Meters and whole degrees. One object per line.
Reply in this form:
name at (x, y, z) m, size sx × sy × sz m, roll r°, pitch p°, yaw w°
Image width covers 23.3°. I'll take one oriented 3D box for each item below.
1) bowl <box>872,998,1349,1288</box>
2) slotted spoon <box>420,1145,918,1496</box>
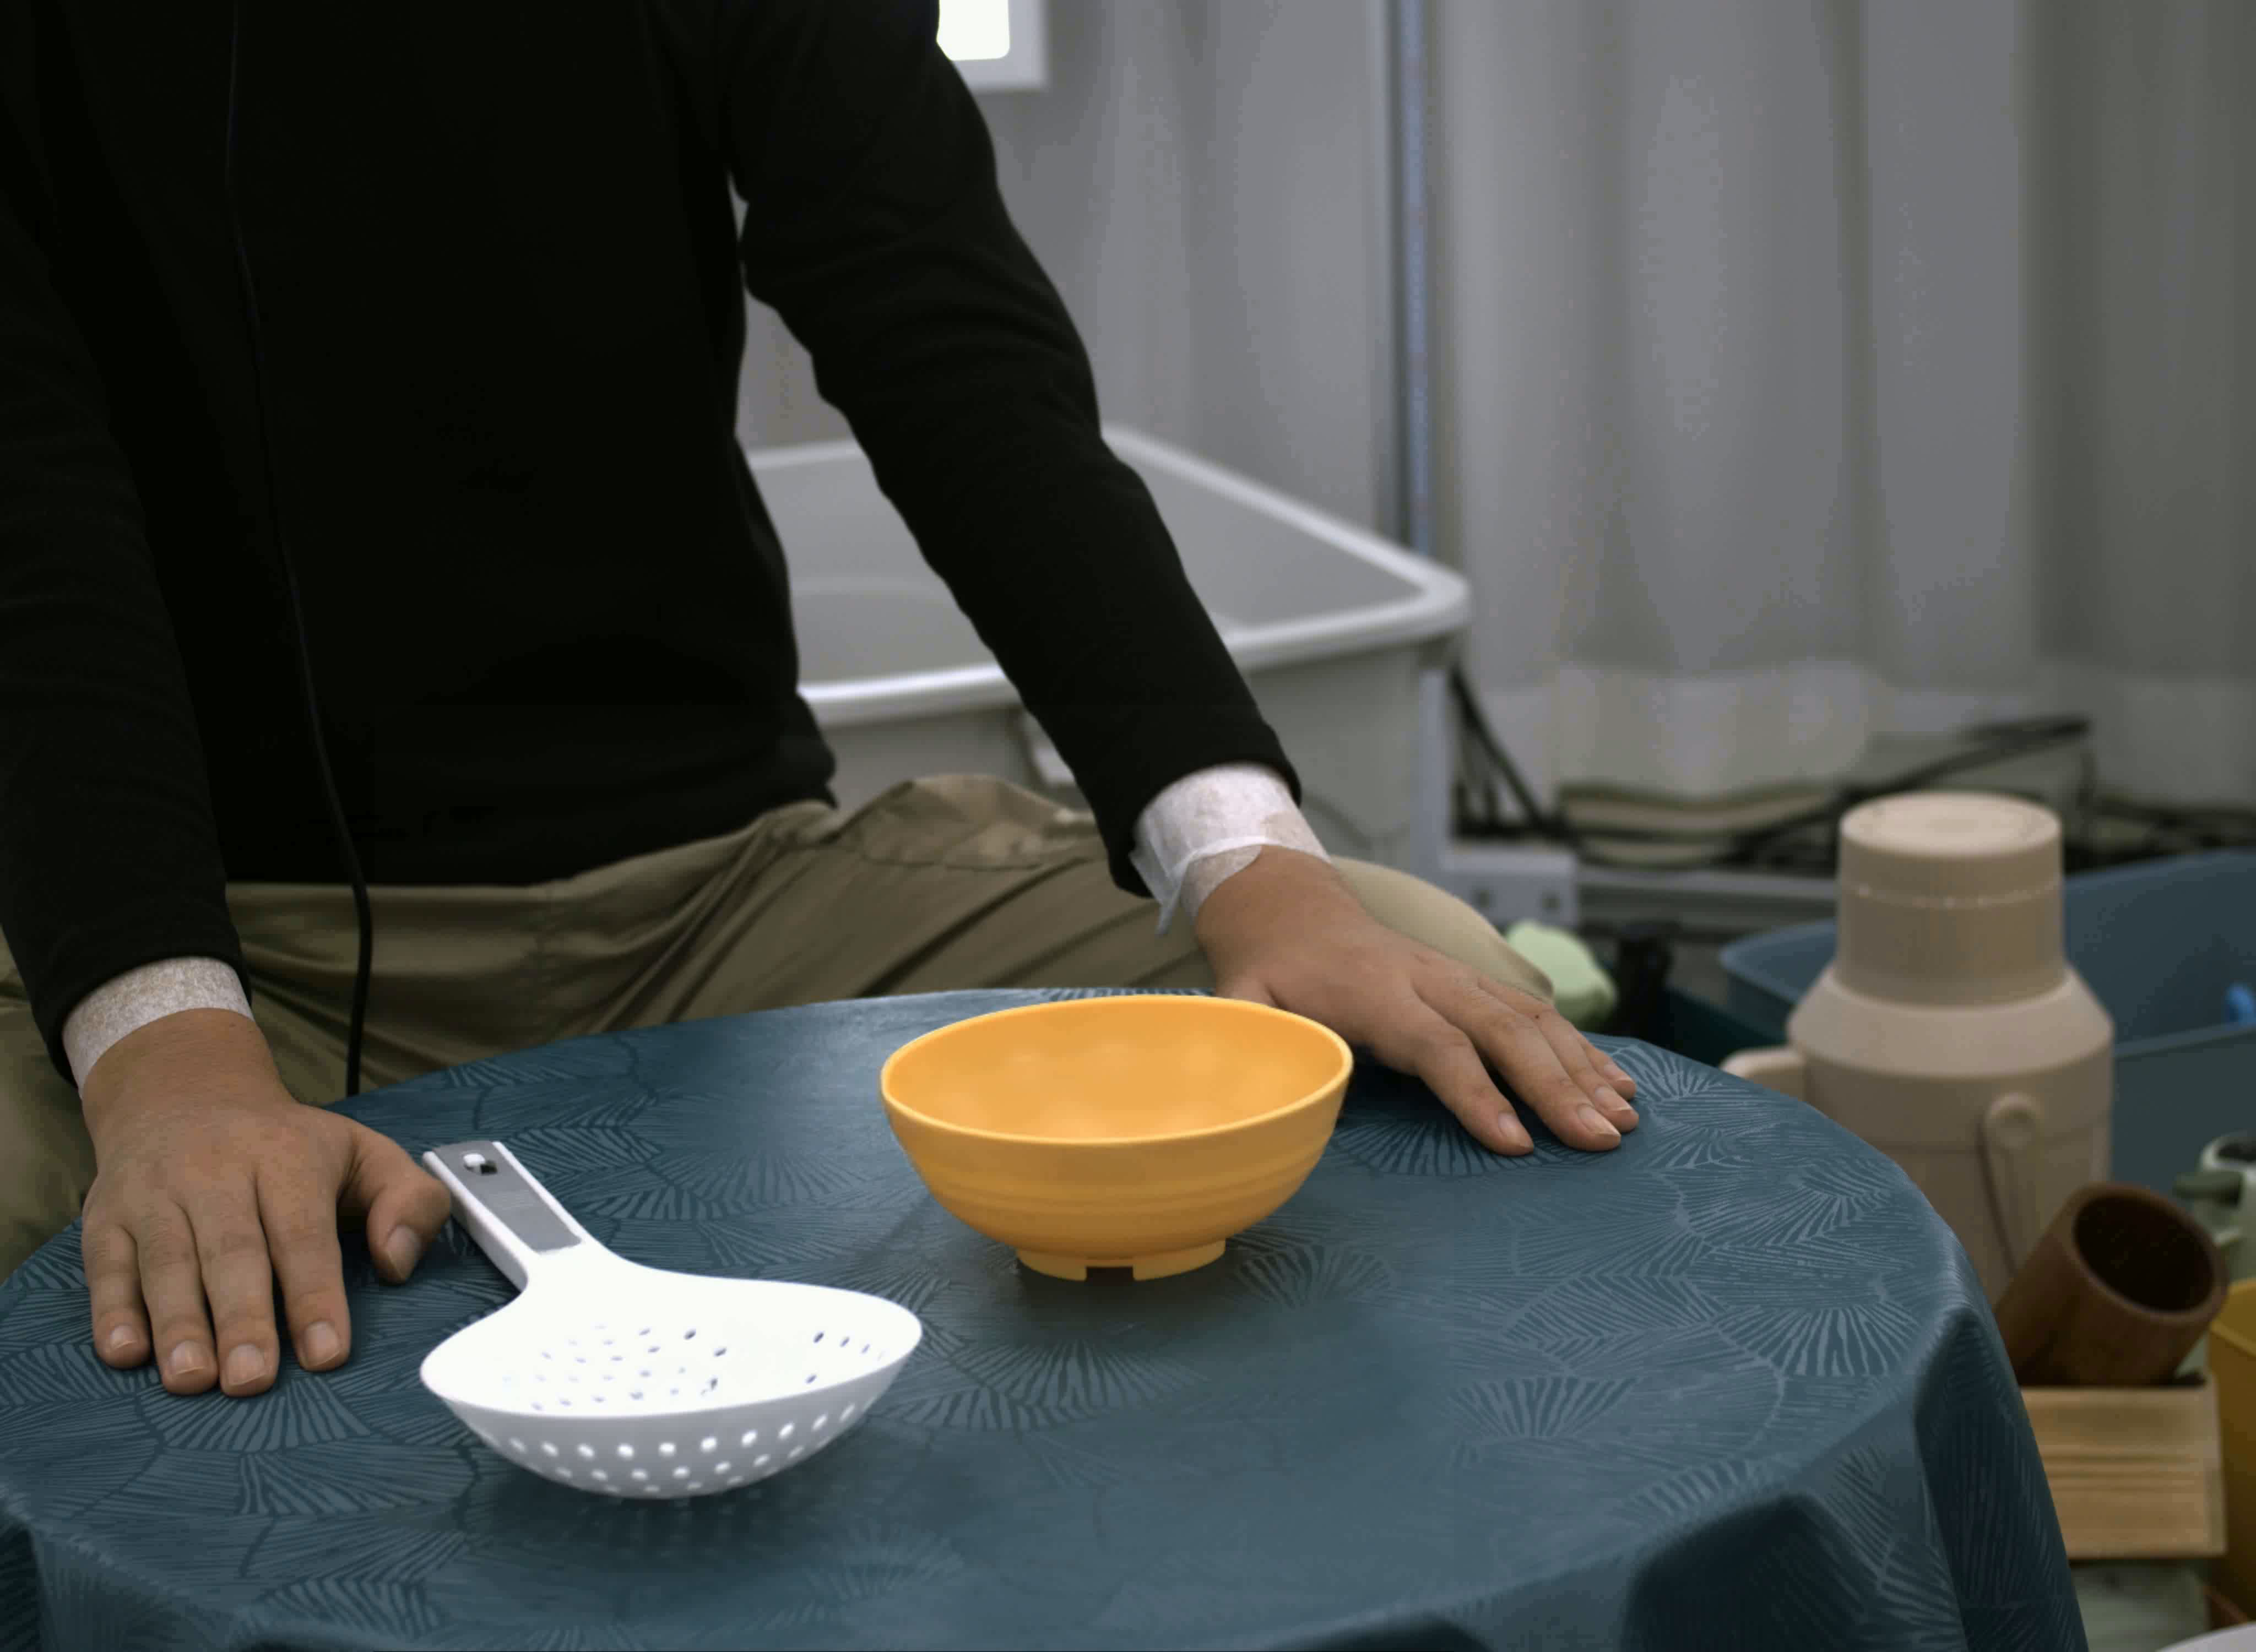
bowl at (-0.005, 0.101, 1.657) m, size 0.145 × 0.060 × 0.146 m, roll -1°, pitch 15°, yaw 0°
slotted spoon at (-0.159, 0.134, 1.585) m, size 0.135 × 0.045 × 0.352 m, roll -7°, pitch 14°, yaw -18°
